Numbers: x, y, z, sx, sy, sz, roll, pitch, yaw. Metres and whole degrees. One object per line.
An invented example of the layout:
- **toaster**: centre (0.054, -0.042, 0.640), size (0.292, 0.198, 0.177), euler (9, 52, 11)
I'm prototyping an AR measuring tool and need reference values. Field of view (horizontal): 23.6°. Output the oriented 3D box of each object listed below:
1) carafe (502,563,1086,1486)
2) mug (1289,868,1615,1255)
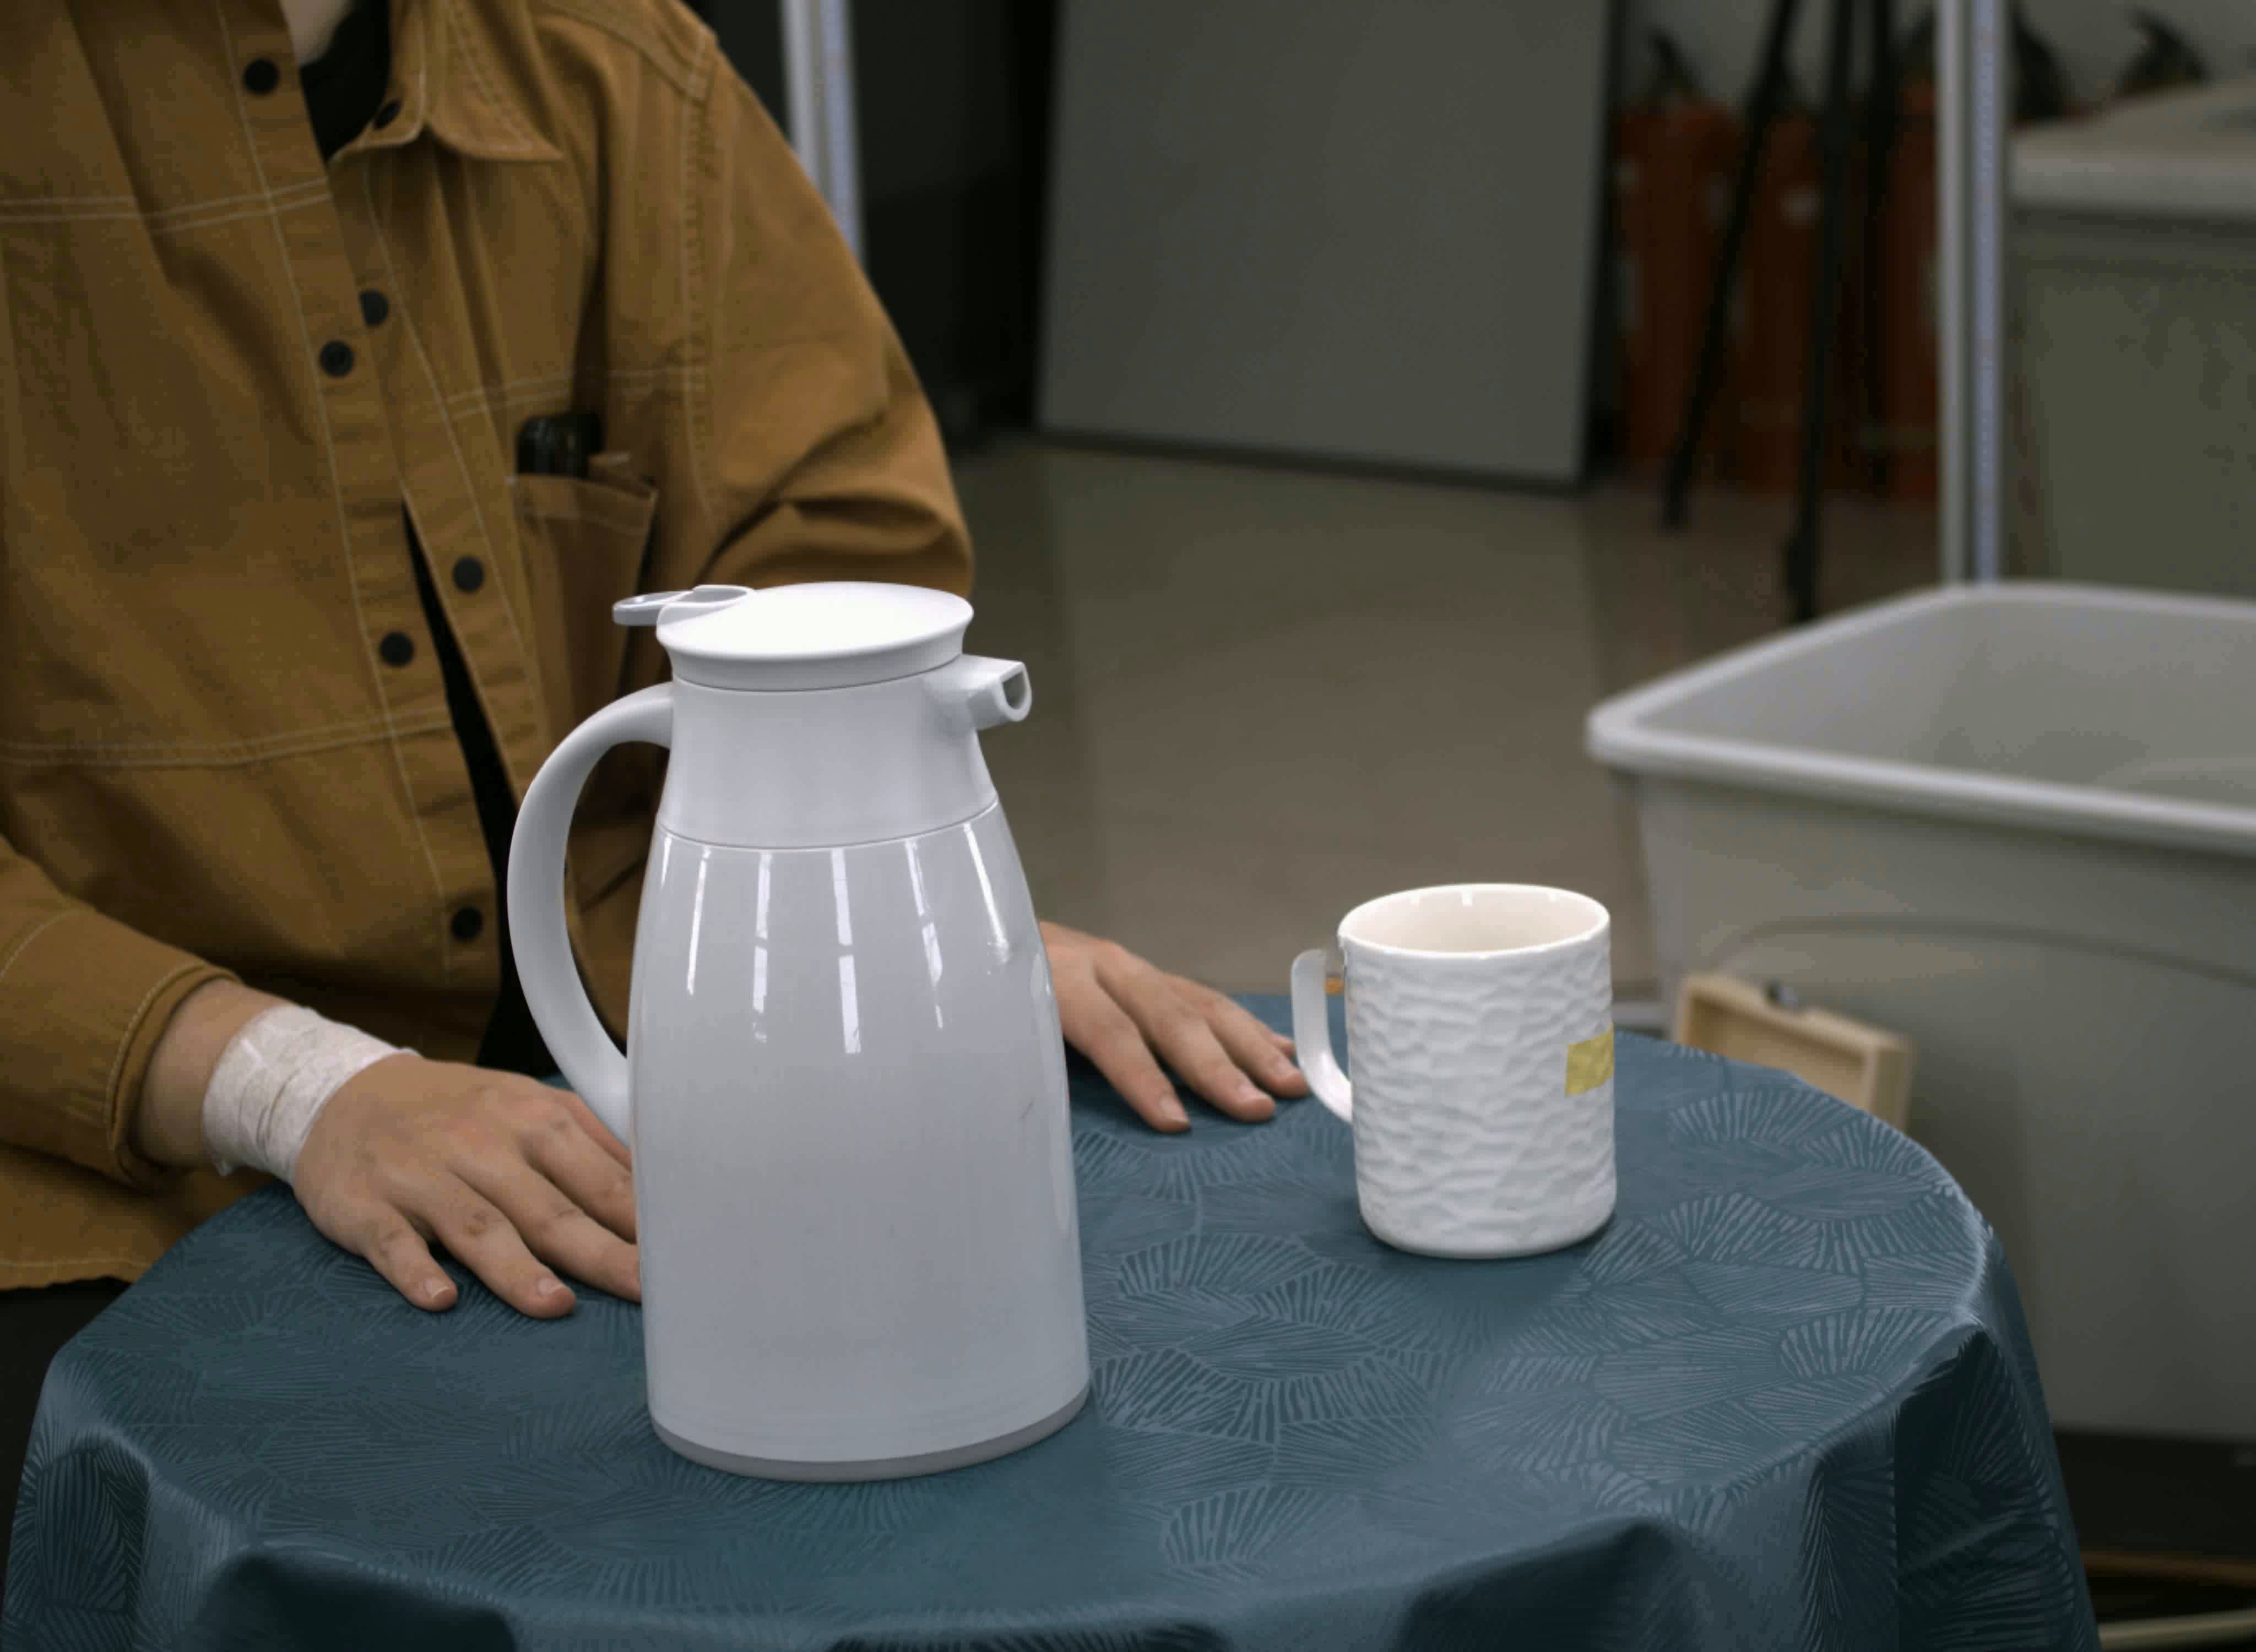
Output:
- **carafe**: centre (-0.102, 0.050, 1.571), size (0.167, 0.251, 0.131), euler (1, 15, 22)
- **mug**: centre (0.100, 0.072, 1.715), size (0.119, 0.103, 0.083), euler (10, 20, 41)
